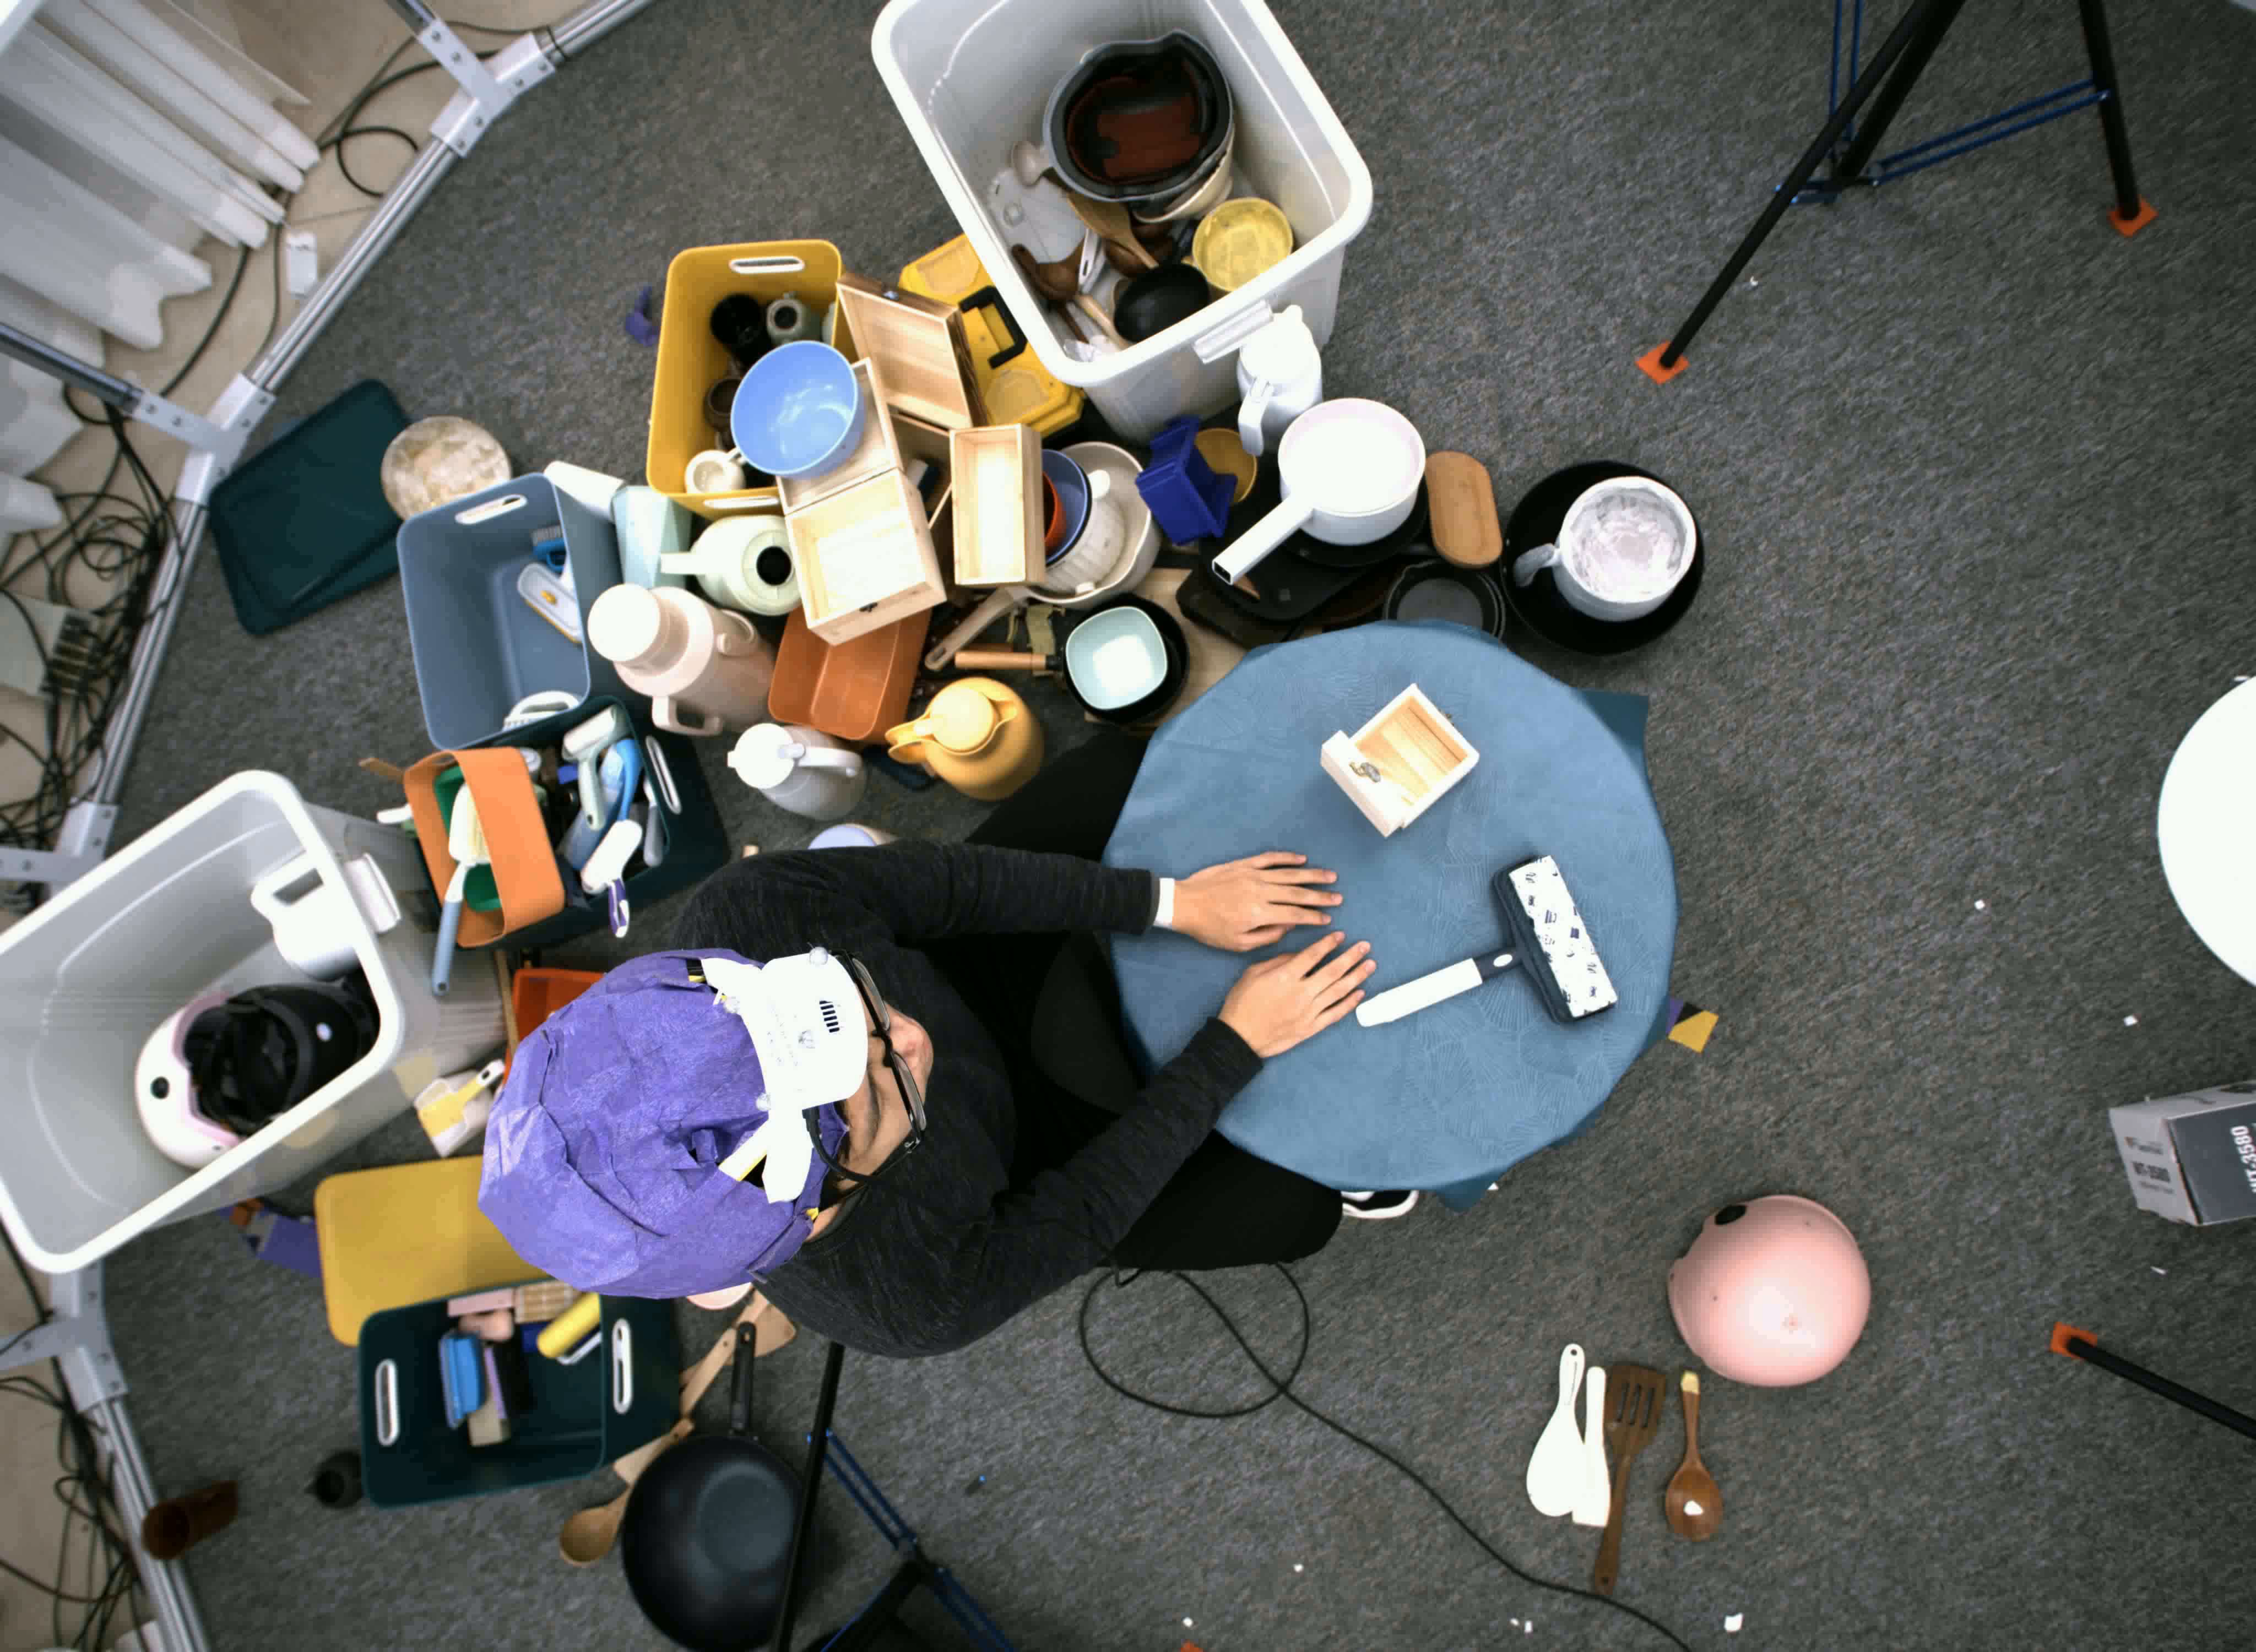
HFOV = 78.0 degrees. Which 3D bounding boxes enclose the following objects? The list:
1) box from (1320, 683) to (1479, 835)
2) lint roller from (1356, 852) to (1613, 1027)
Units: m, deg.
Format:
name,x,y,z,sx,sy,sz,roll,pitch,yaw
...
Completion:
name,x,y,z,sx,sy,sz,roll,pitch,yaw
box,0.274,-0.072,1.374,0.134,0.184,0.102,-42,79,5
lint roller,0.352,0.152,1.419,0.248,0.050,0.175,-24,84,9
